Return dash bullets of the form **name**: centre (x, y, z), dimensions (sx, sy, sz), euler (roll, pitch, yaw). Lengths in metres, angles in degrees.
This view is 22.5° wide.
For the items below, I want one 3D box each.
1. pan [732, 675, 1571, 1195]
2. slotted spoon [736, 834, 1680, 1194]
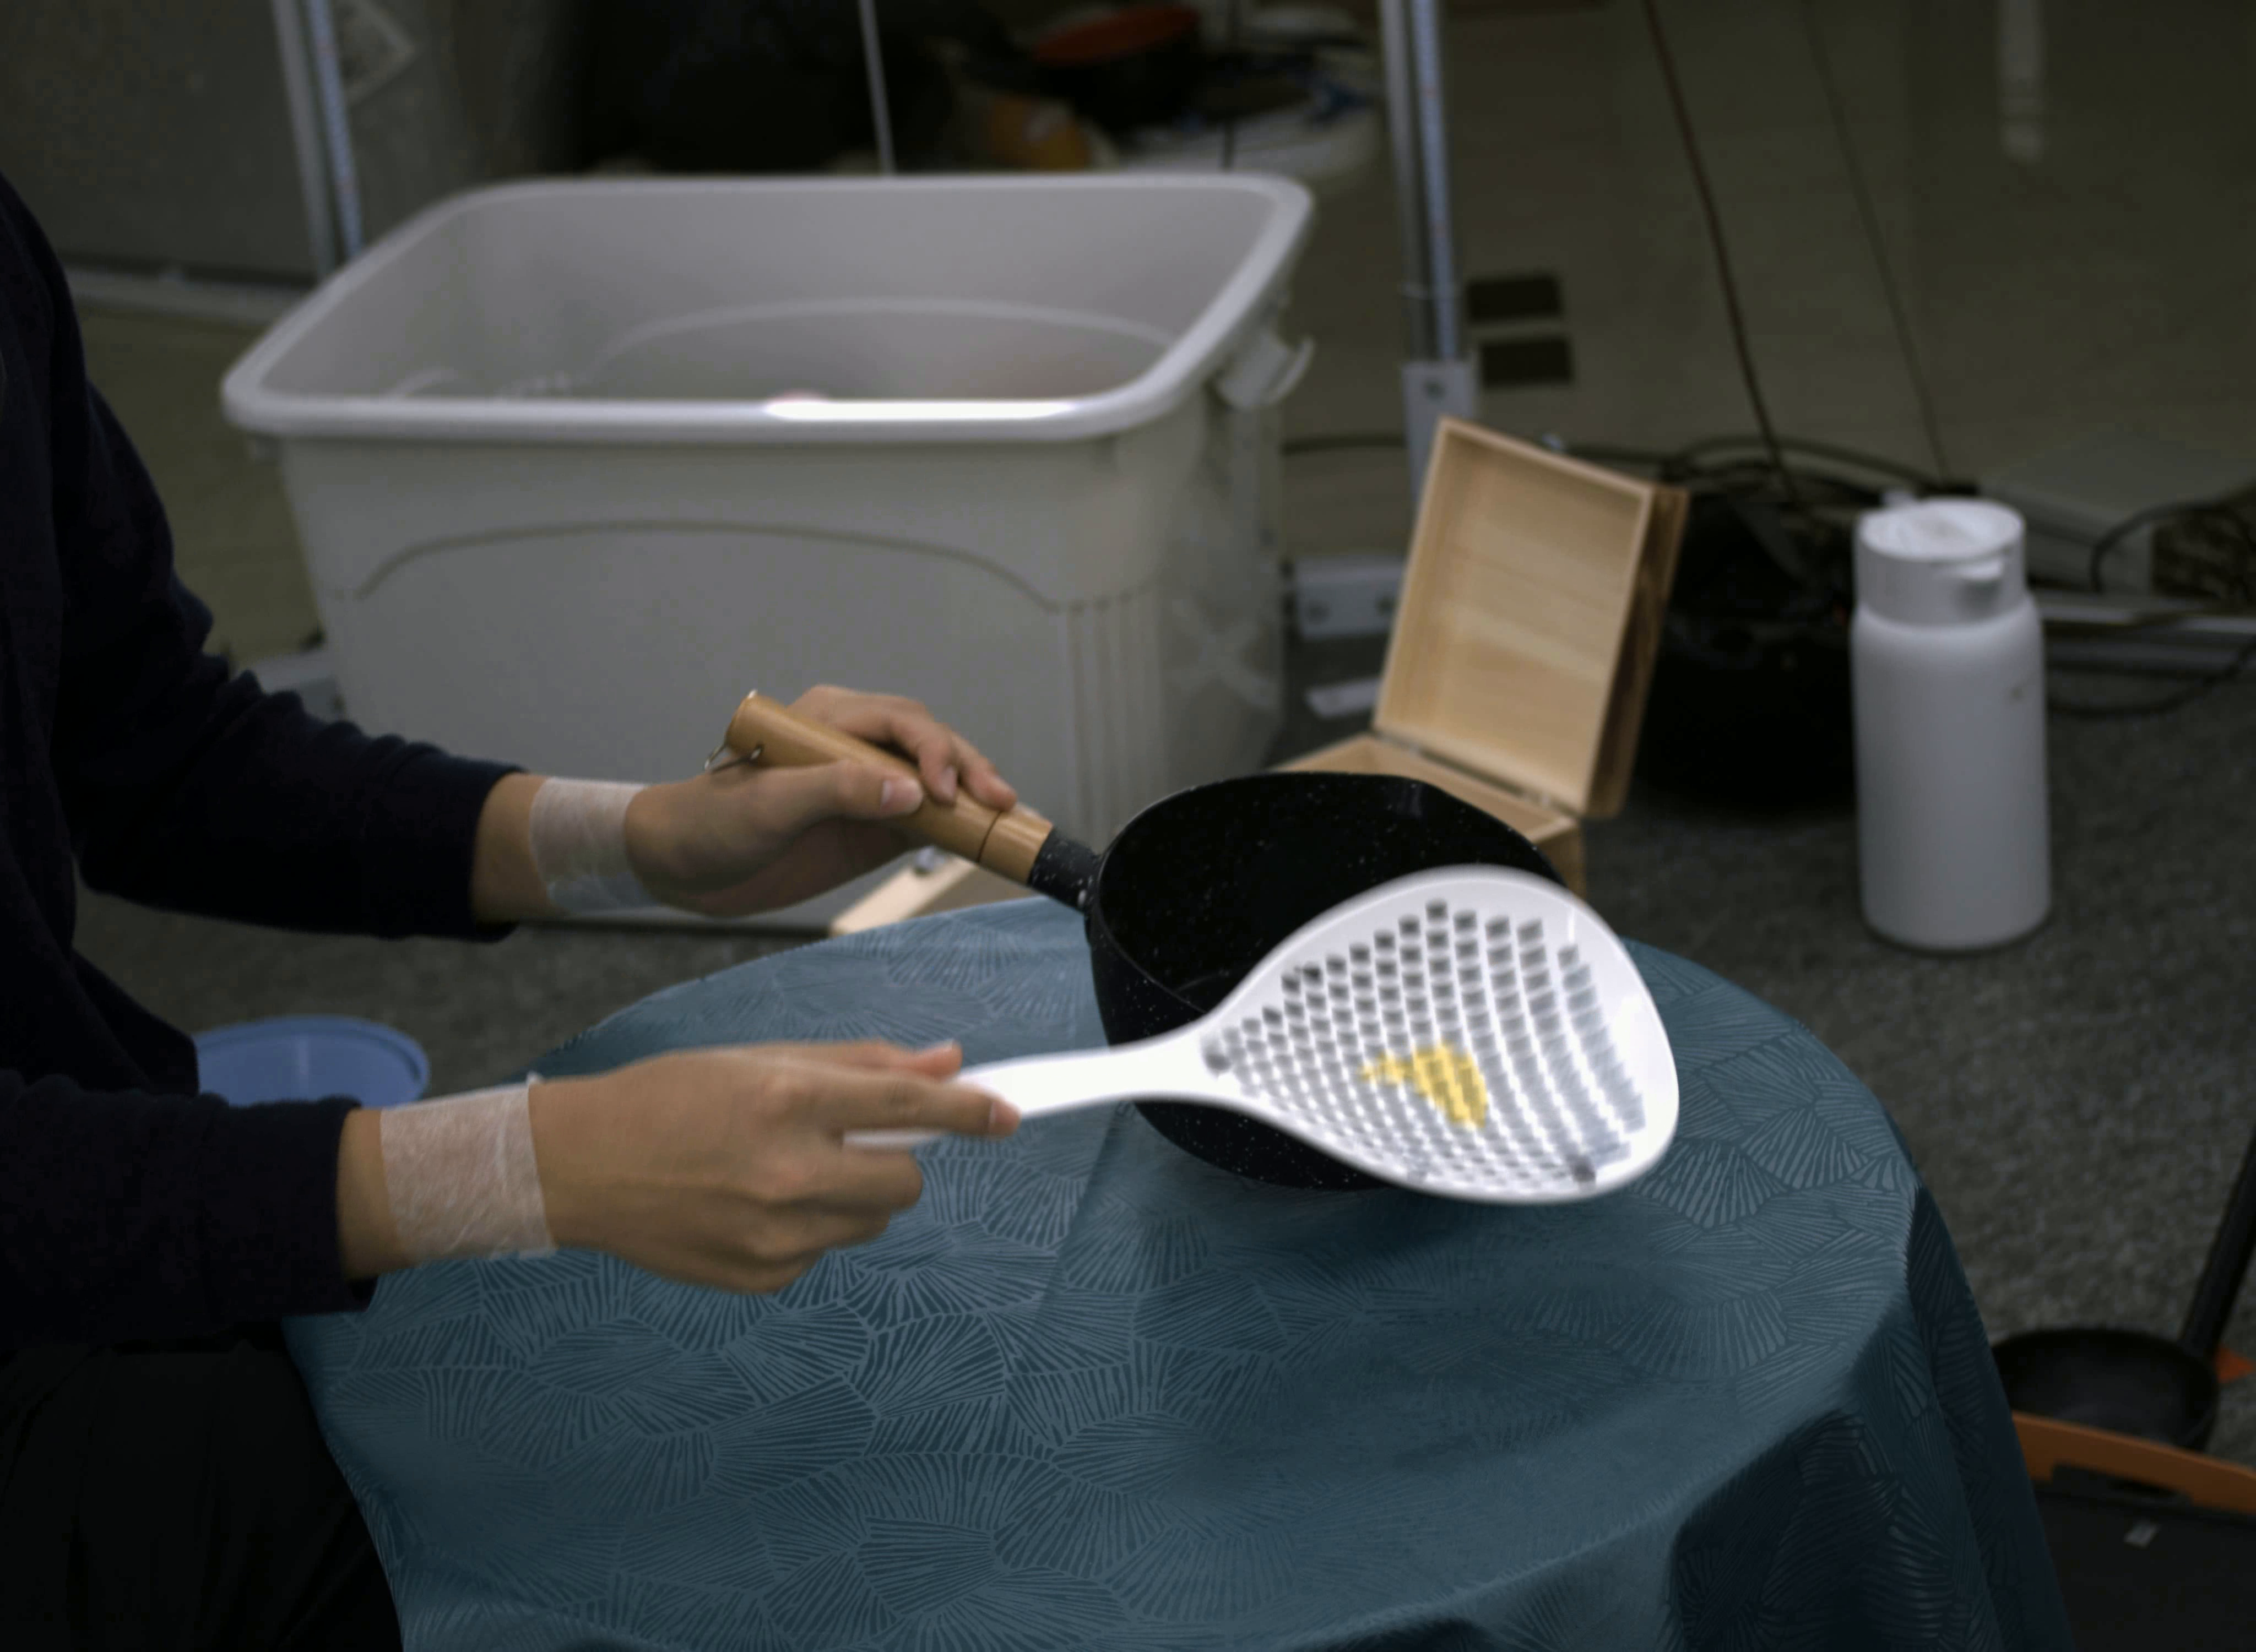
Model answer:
- **pan**: centre (0.003, 0.033, 2.169), dimensions (0.341, 0.110, 0.204), euler (16, 37, 13)
- **slotted spoon**: centre (0.028, 0.082, 1.943), dimensions (0.347, 0.051, 0.135), euler (-6, 62, -29)
